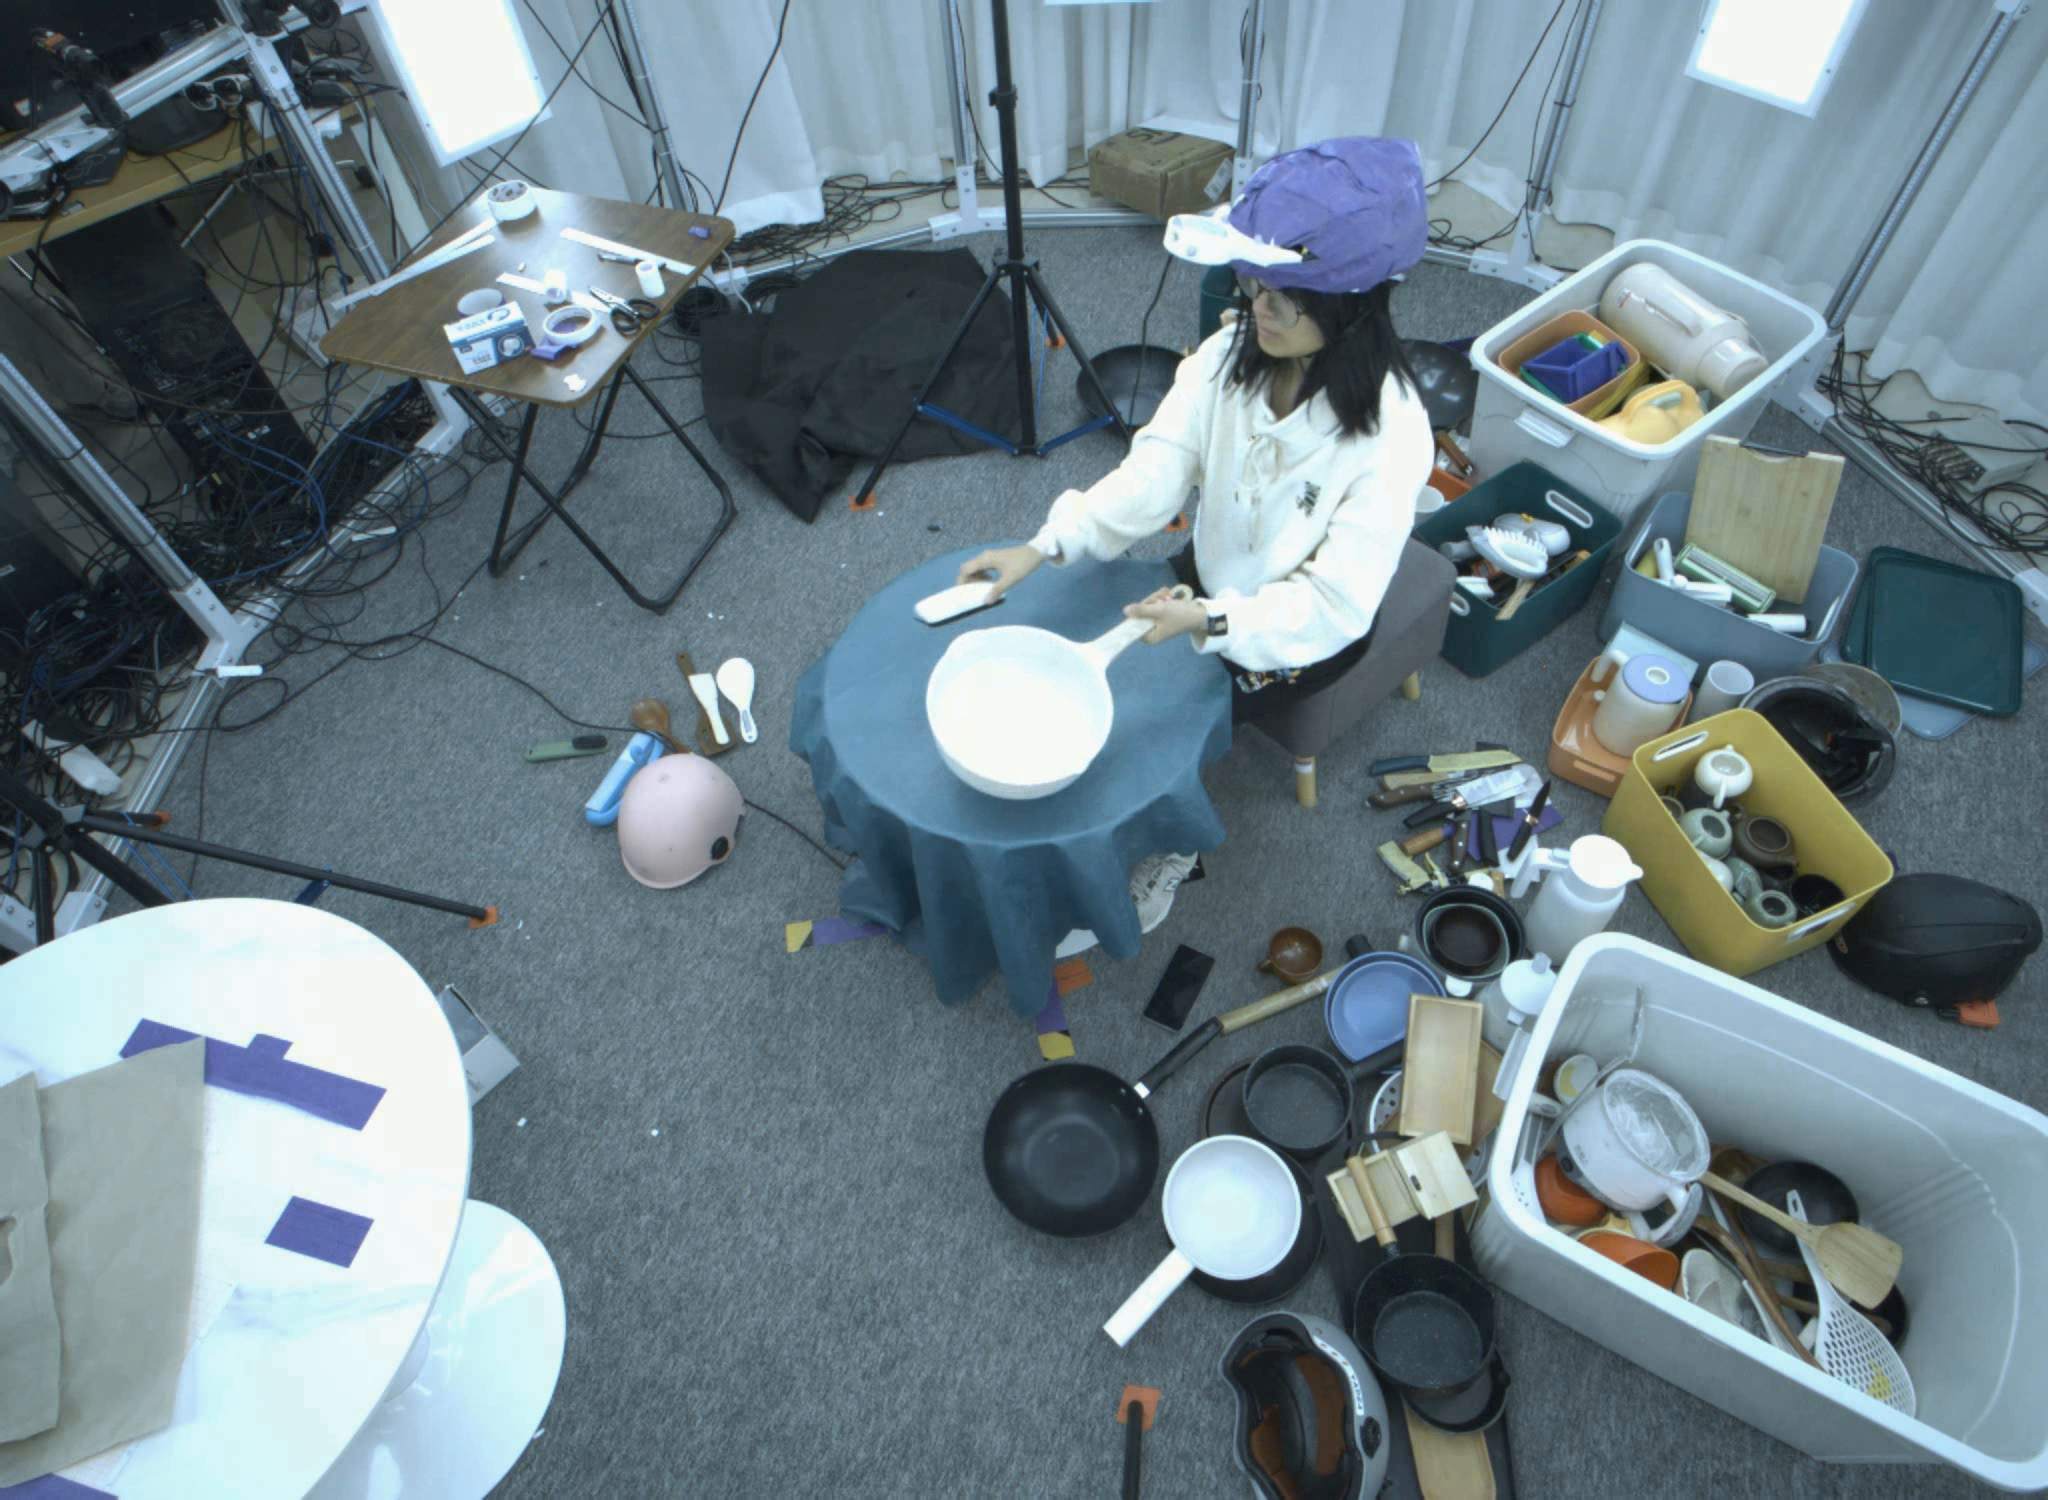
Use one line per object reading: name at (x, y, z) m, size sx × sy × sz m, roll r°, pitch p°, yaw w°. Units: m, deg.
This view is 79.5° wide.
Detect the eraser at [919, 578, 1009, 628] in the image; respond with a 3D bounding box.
eraser at (-0.087, -0.219, 1.801) m, size 0.132 × 0.035 × 0.062 m, roll -23°, pitch 30°, yaw -20°

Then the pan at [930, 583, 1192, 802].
pan at (0.067, -0.094, 1.712) m, size 0.438 × 0.102 × 0.260 m, roll -35°, pitch 71°, yaw -23°
